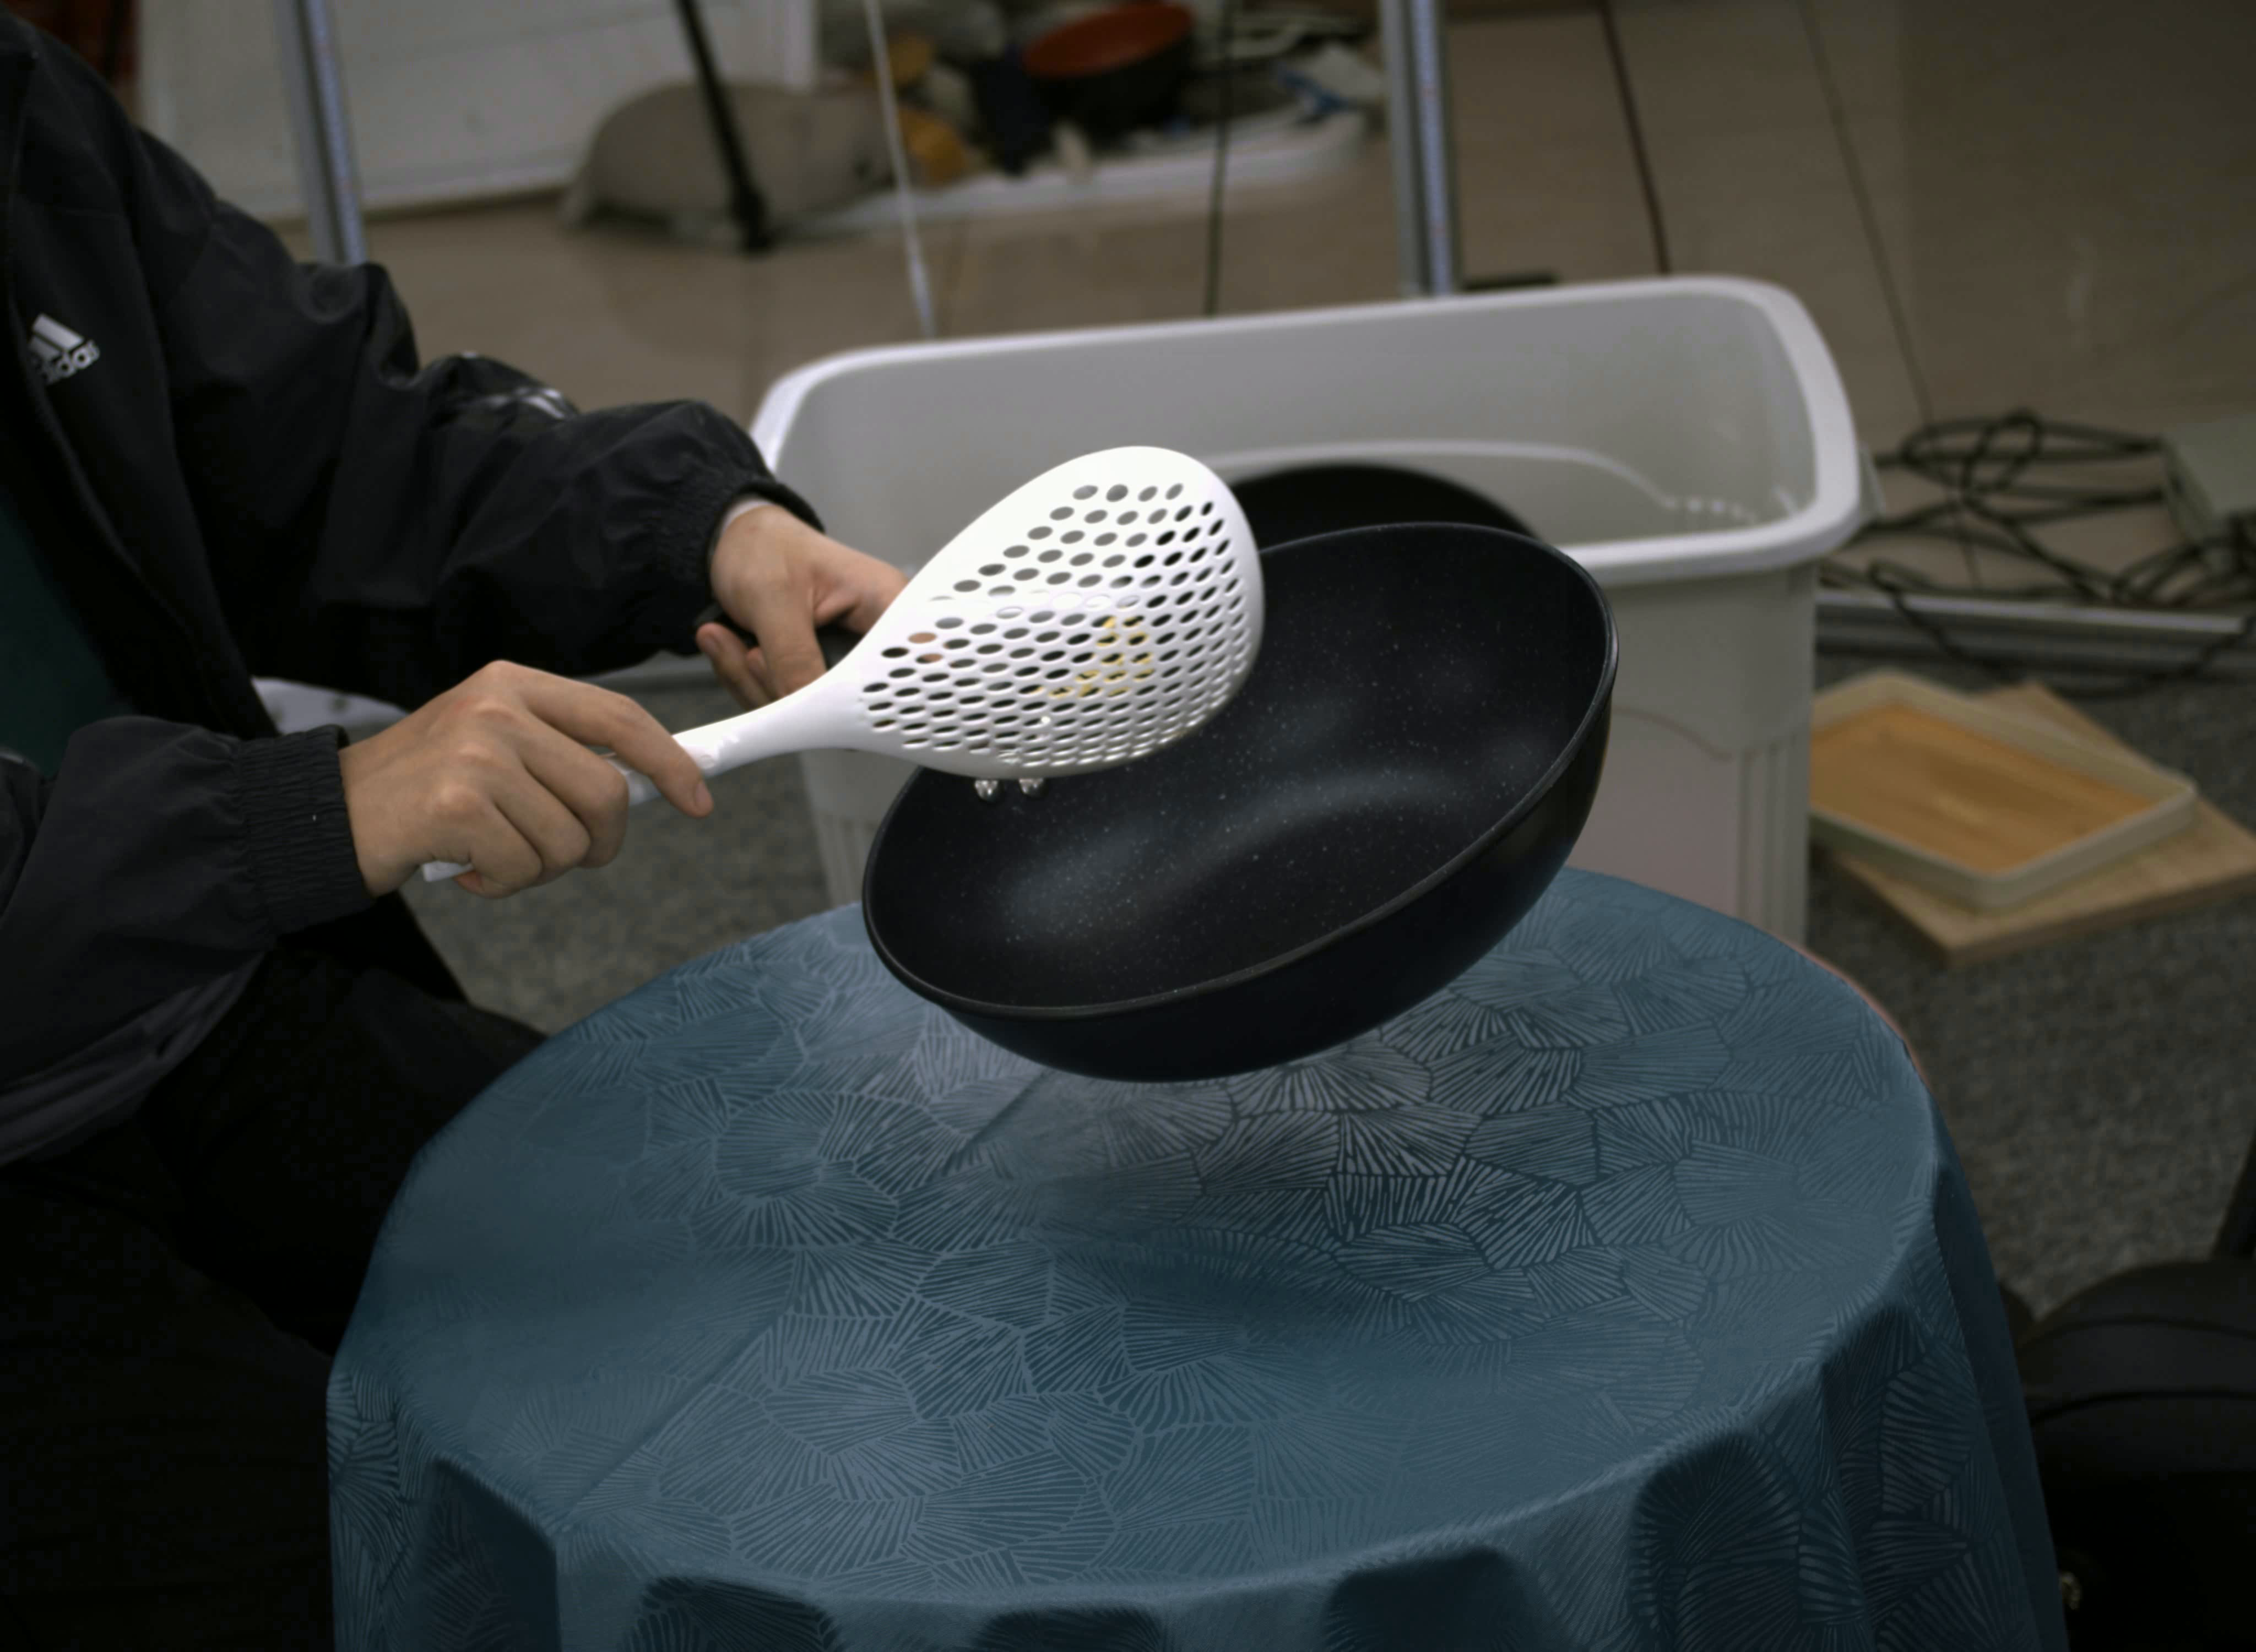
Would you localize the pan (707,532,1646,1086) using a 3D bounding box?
[{"bbox_3d":[0.003,-0.013,2.220,0.474,0.113,0.307,12,45,47],"label":"pan"}]

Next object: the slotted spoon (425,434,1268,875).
[{"bbox_3d":[-0.103,-0.043,2.143,0.347,0.139,0.049,-18,34,-10],"label":"slotted spoon"}]
